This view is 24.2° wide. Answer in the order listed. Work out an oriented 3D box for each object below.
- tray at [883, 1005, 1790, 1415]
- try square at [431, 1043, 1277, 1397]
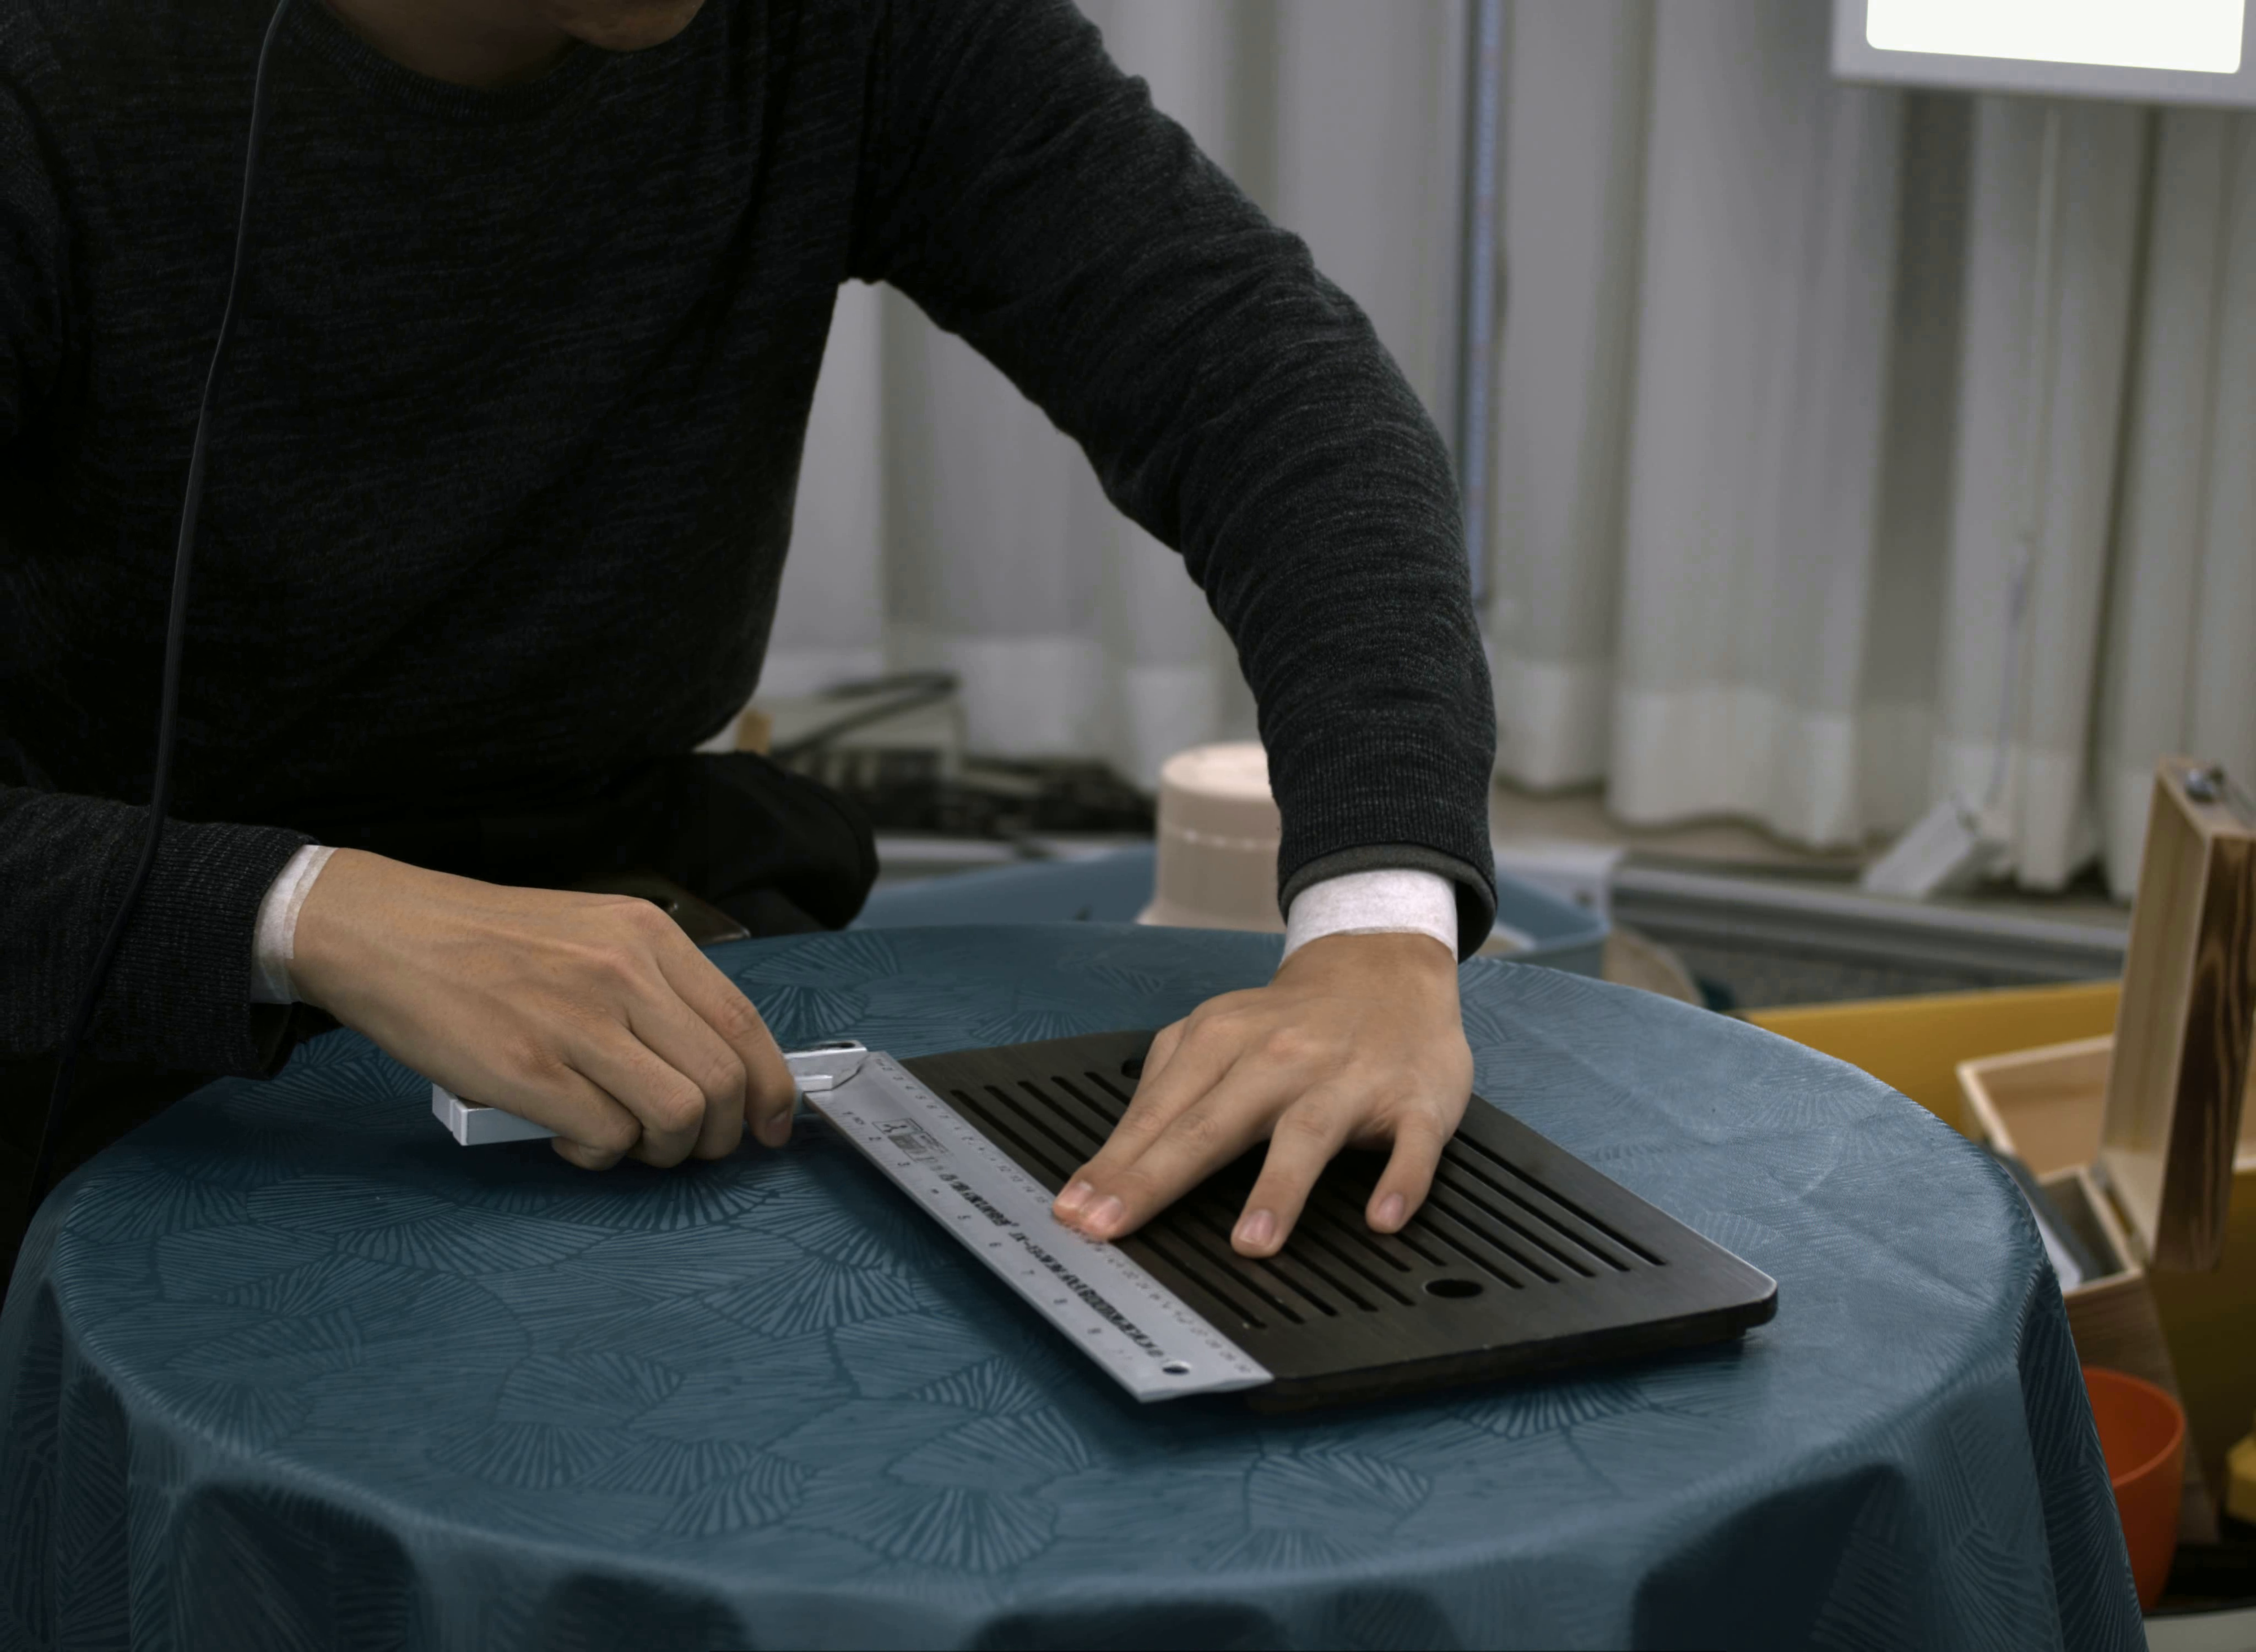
[{"bbox_3d":[0.054,0.112,1.591,0.170,0.019,0.302,-7,17,-23],"label":"tray"},{"bbox_3d":[-0.088,0.115,1.531,0.153,0.016,0.309,-3,15,-23],"label":"try square"}]
